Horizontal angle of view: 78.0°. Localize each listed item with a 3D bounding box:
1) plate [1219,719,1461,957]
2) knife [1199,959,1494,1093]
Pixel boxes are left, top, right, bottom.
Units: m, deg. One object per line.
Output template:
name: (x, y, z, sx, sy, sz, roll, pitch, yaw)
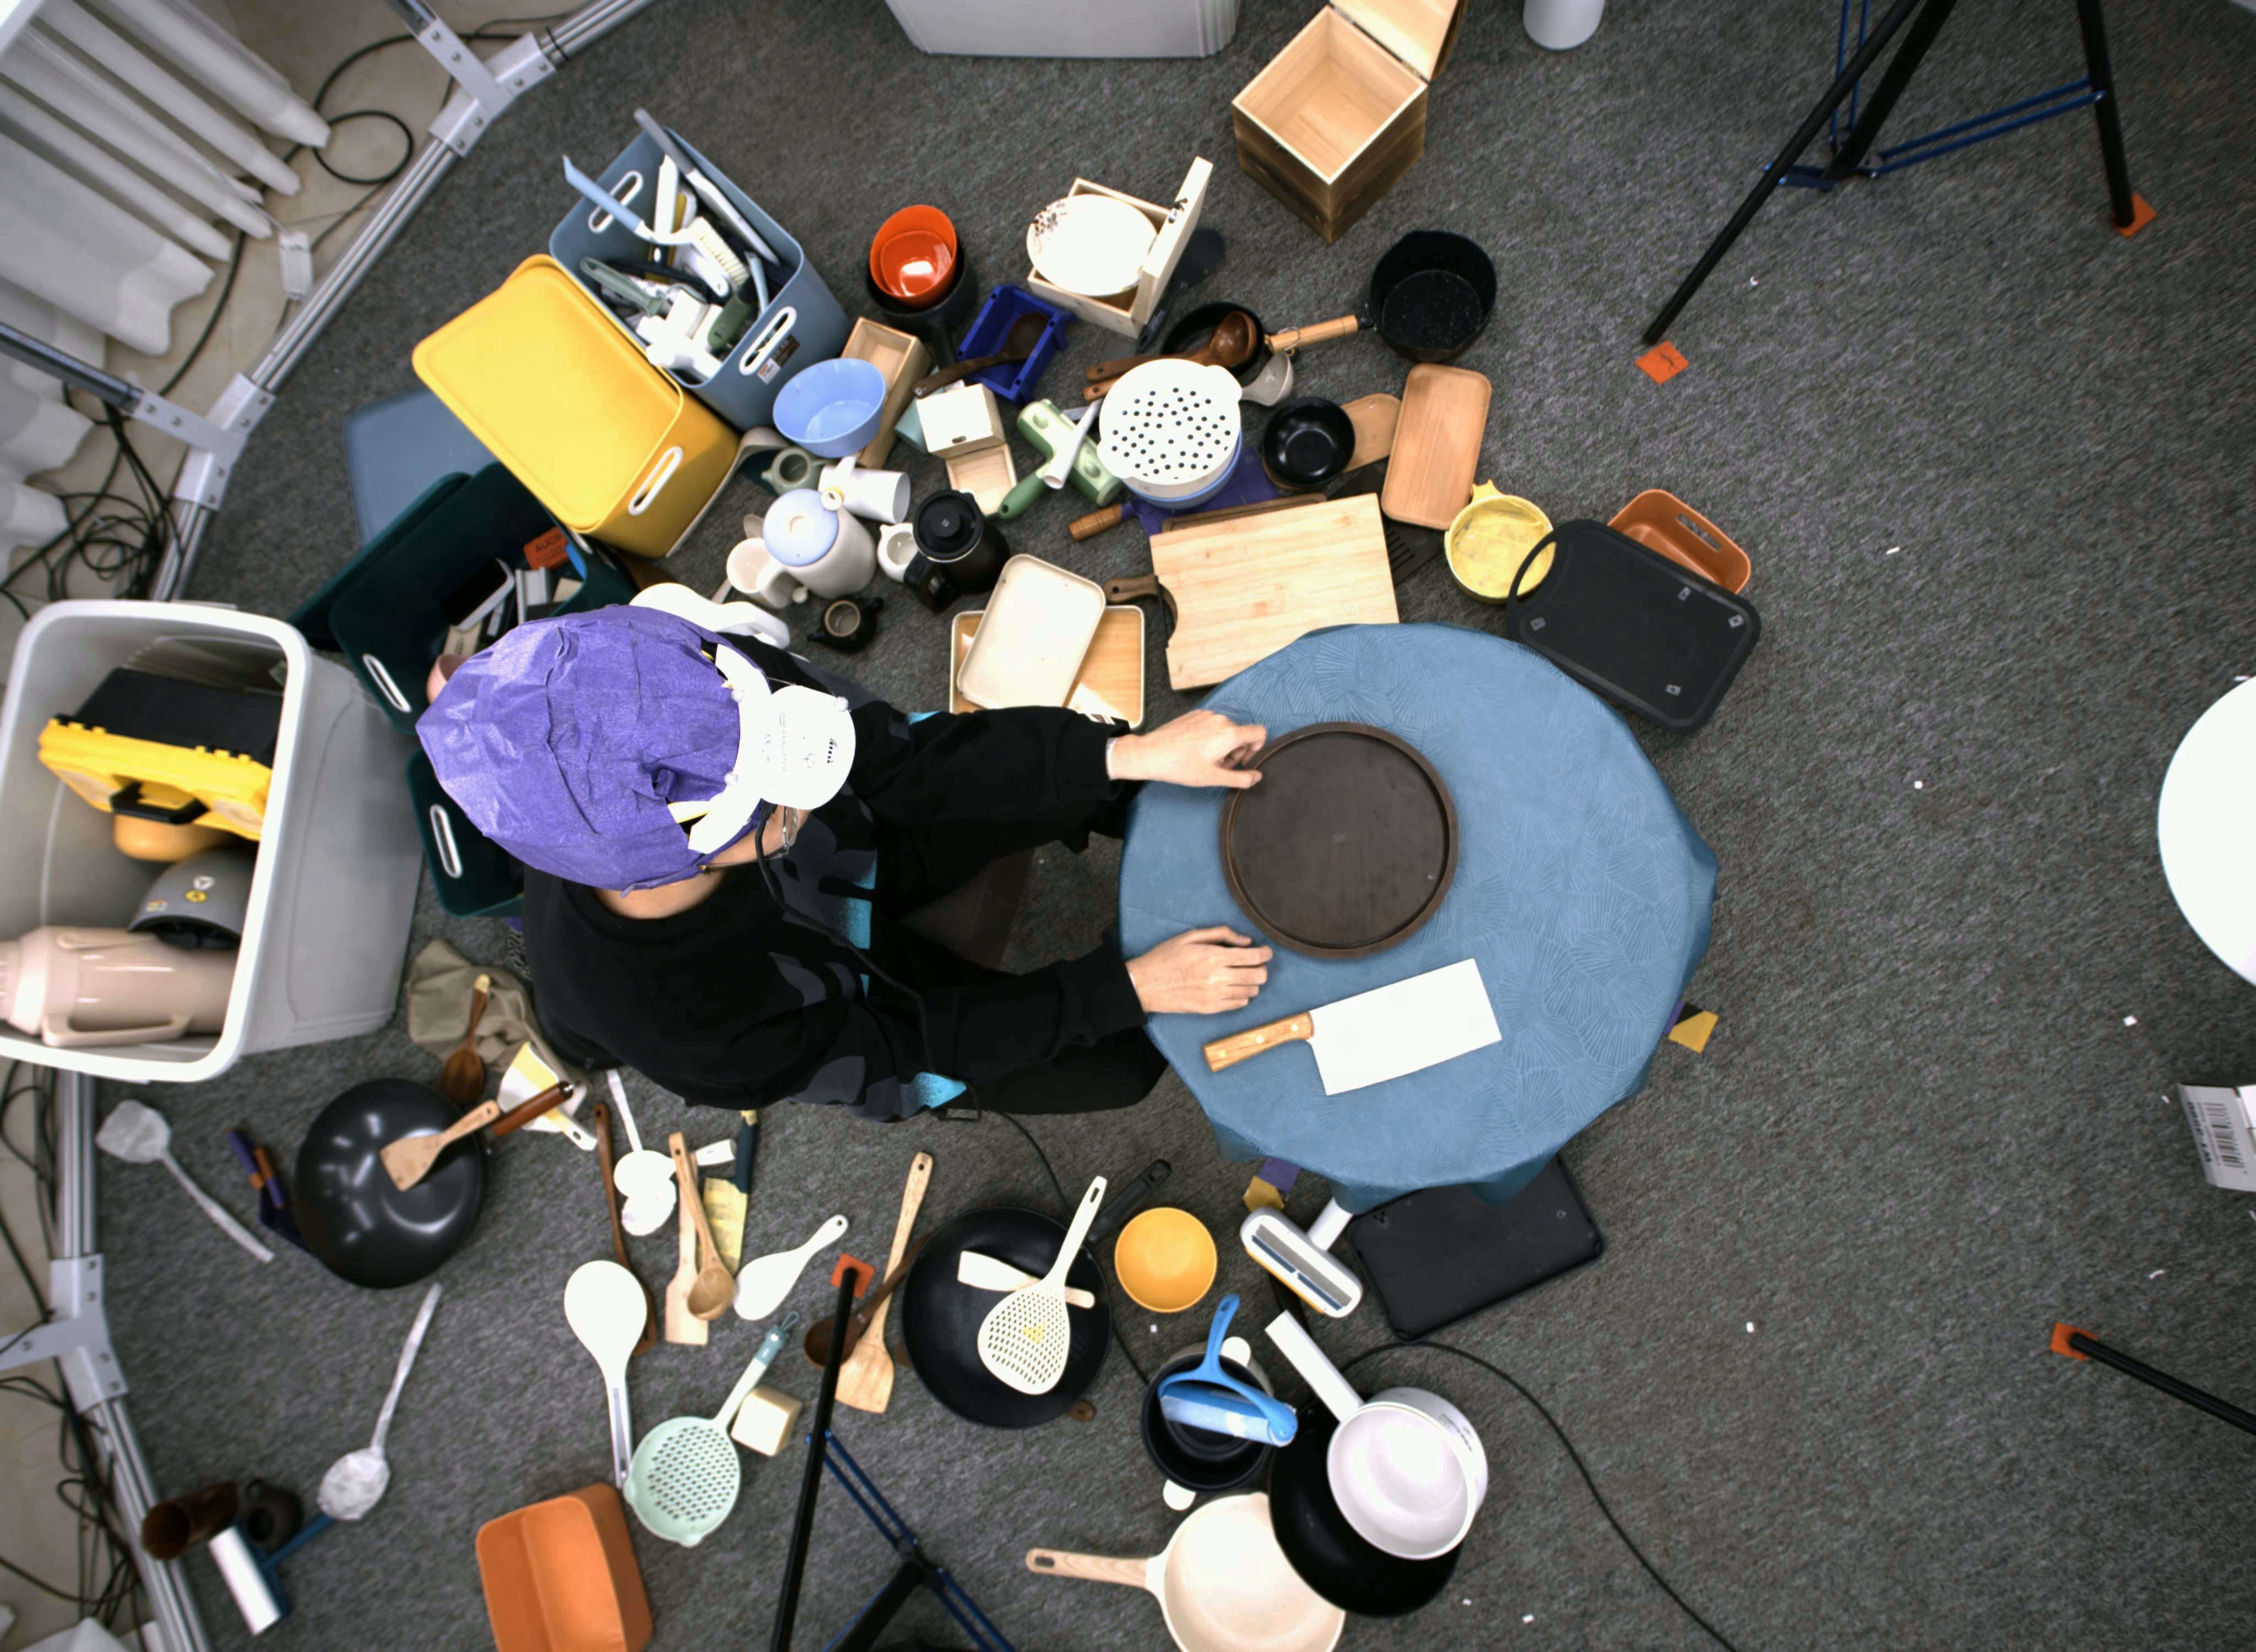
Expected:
plate: (0.223, 0.012, 1.459, 0.256, 0.029, 0.253, -1, 85, 10)
knife: (0.230, 0.225, 1.451, 0.307, 0.021, 0.092, -19, 85, 7)
